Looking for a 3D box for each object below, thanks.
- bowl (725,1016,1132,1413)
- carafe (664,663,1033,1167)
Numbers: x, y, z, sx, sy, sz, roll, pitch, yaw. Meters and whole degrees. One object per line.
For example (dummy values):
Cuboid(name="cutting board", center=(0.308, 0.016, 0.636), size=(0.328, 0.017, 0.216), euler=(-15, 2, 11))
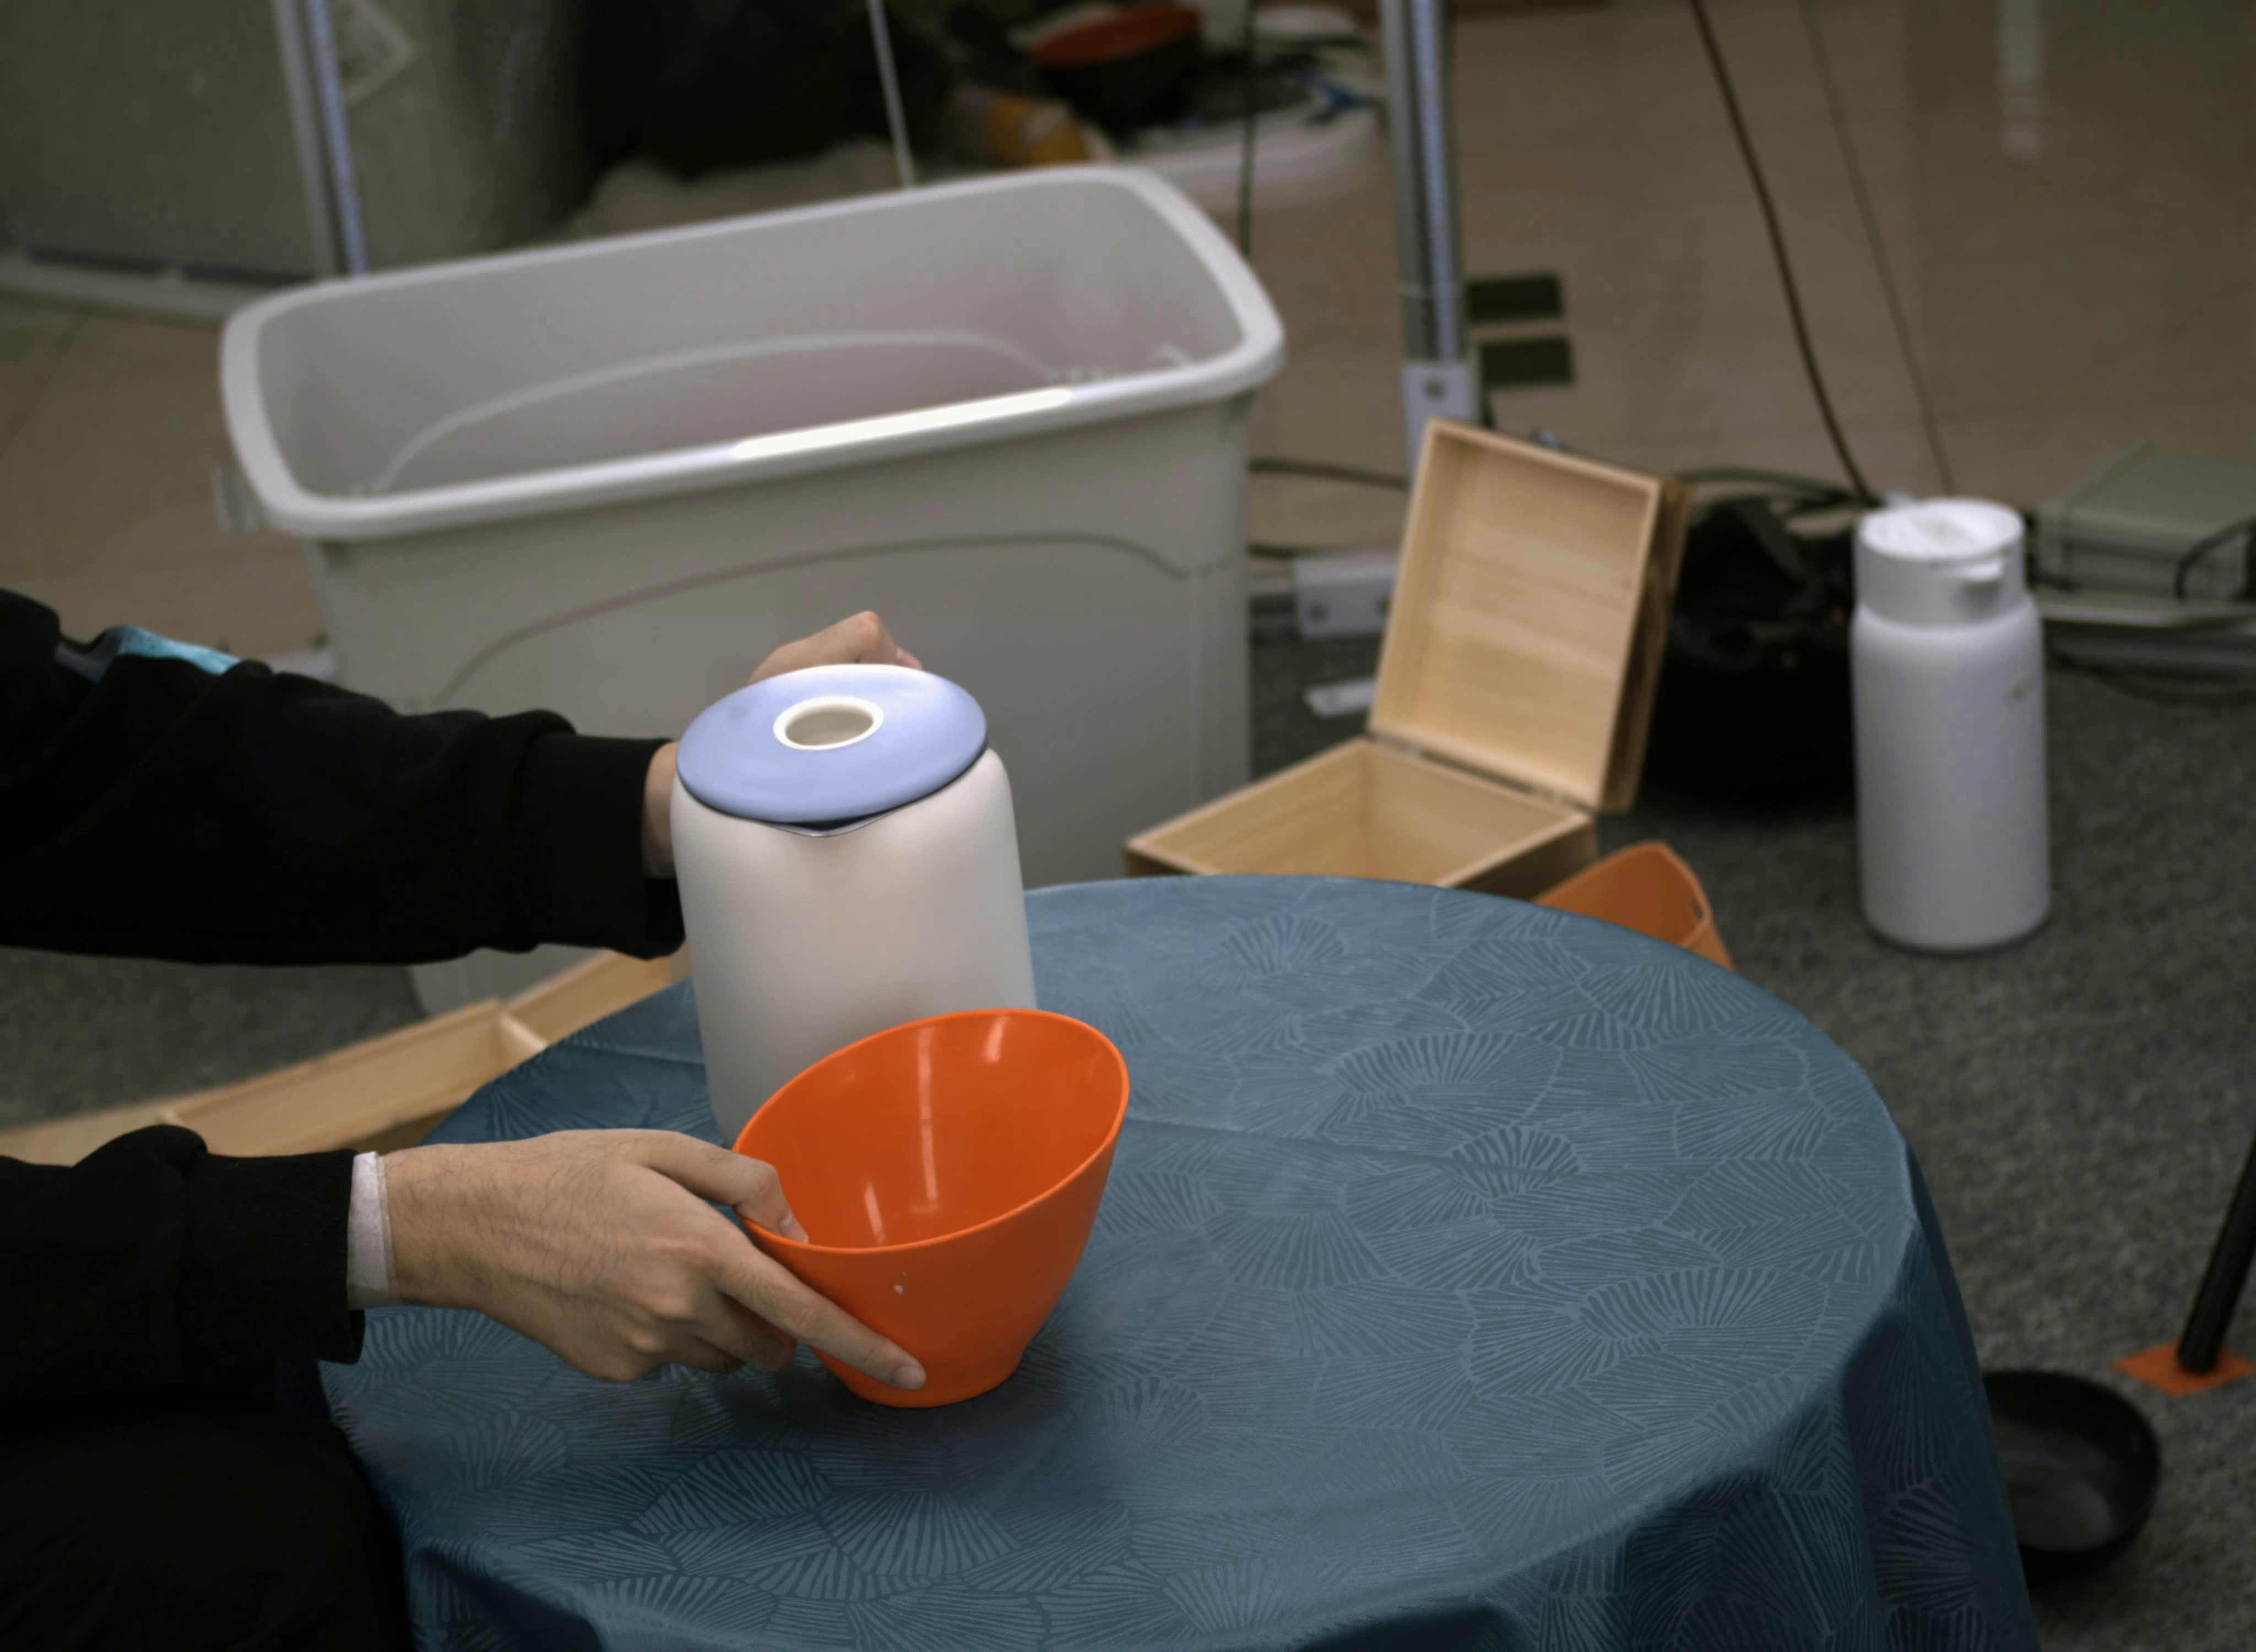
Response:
Cuboid(name="bowl", center=(-0.067, 0.145, 2.026), size=(0.148, 0.106, 0.146), euler=(-4, 25, 2))
Cuboid(name="carafe", center=(-0.107, 0.029, 2.190), size=(0.132, 0.185, 0.188), euler=(-5, 27, -1))
